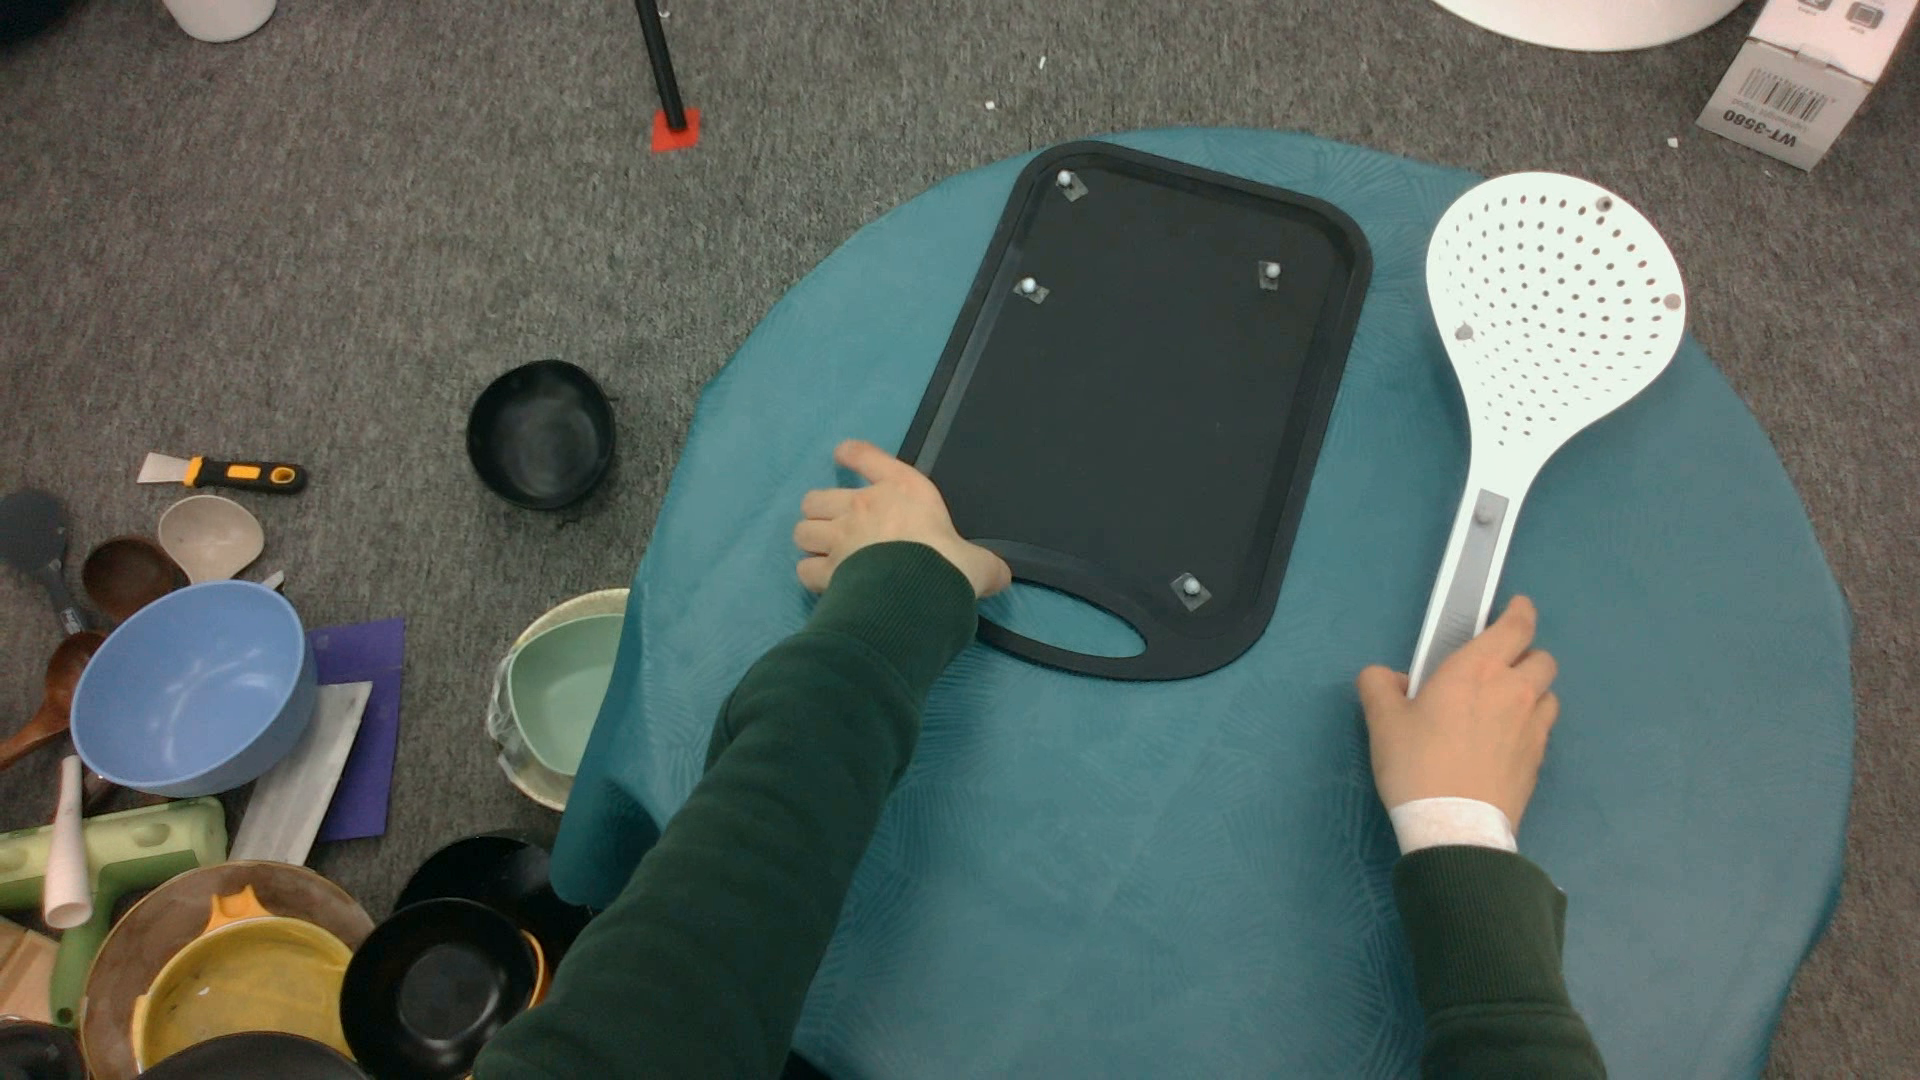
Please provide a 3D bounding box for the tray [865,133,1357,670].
[{"bbox_3d":[0.085,-0.084,0.741,0.211,0.010,0.326,18,66,9],"label":"tray"}]

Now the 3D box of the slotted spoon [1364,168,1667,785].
[{"bbox_3d":[0.266,-0.041,0.698,0.136,0.045,0.351,21,66,6],"label":"slotted spoon"}]
